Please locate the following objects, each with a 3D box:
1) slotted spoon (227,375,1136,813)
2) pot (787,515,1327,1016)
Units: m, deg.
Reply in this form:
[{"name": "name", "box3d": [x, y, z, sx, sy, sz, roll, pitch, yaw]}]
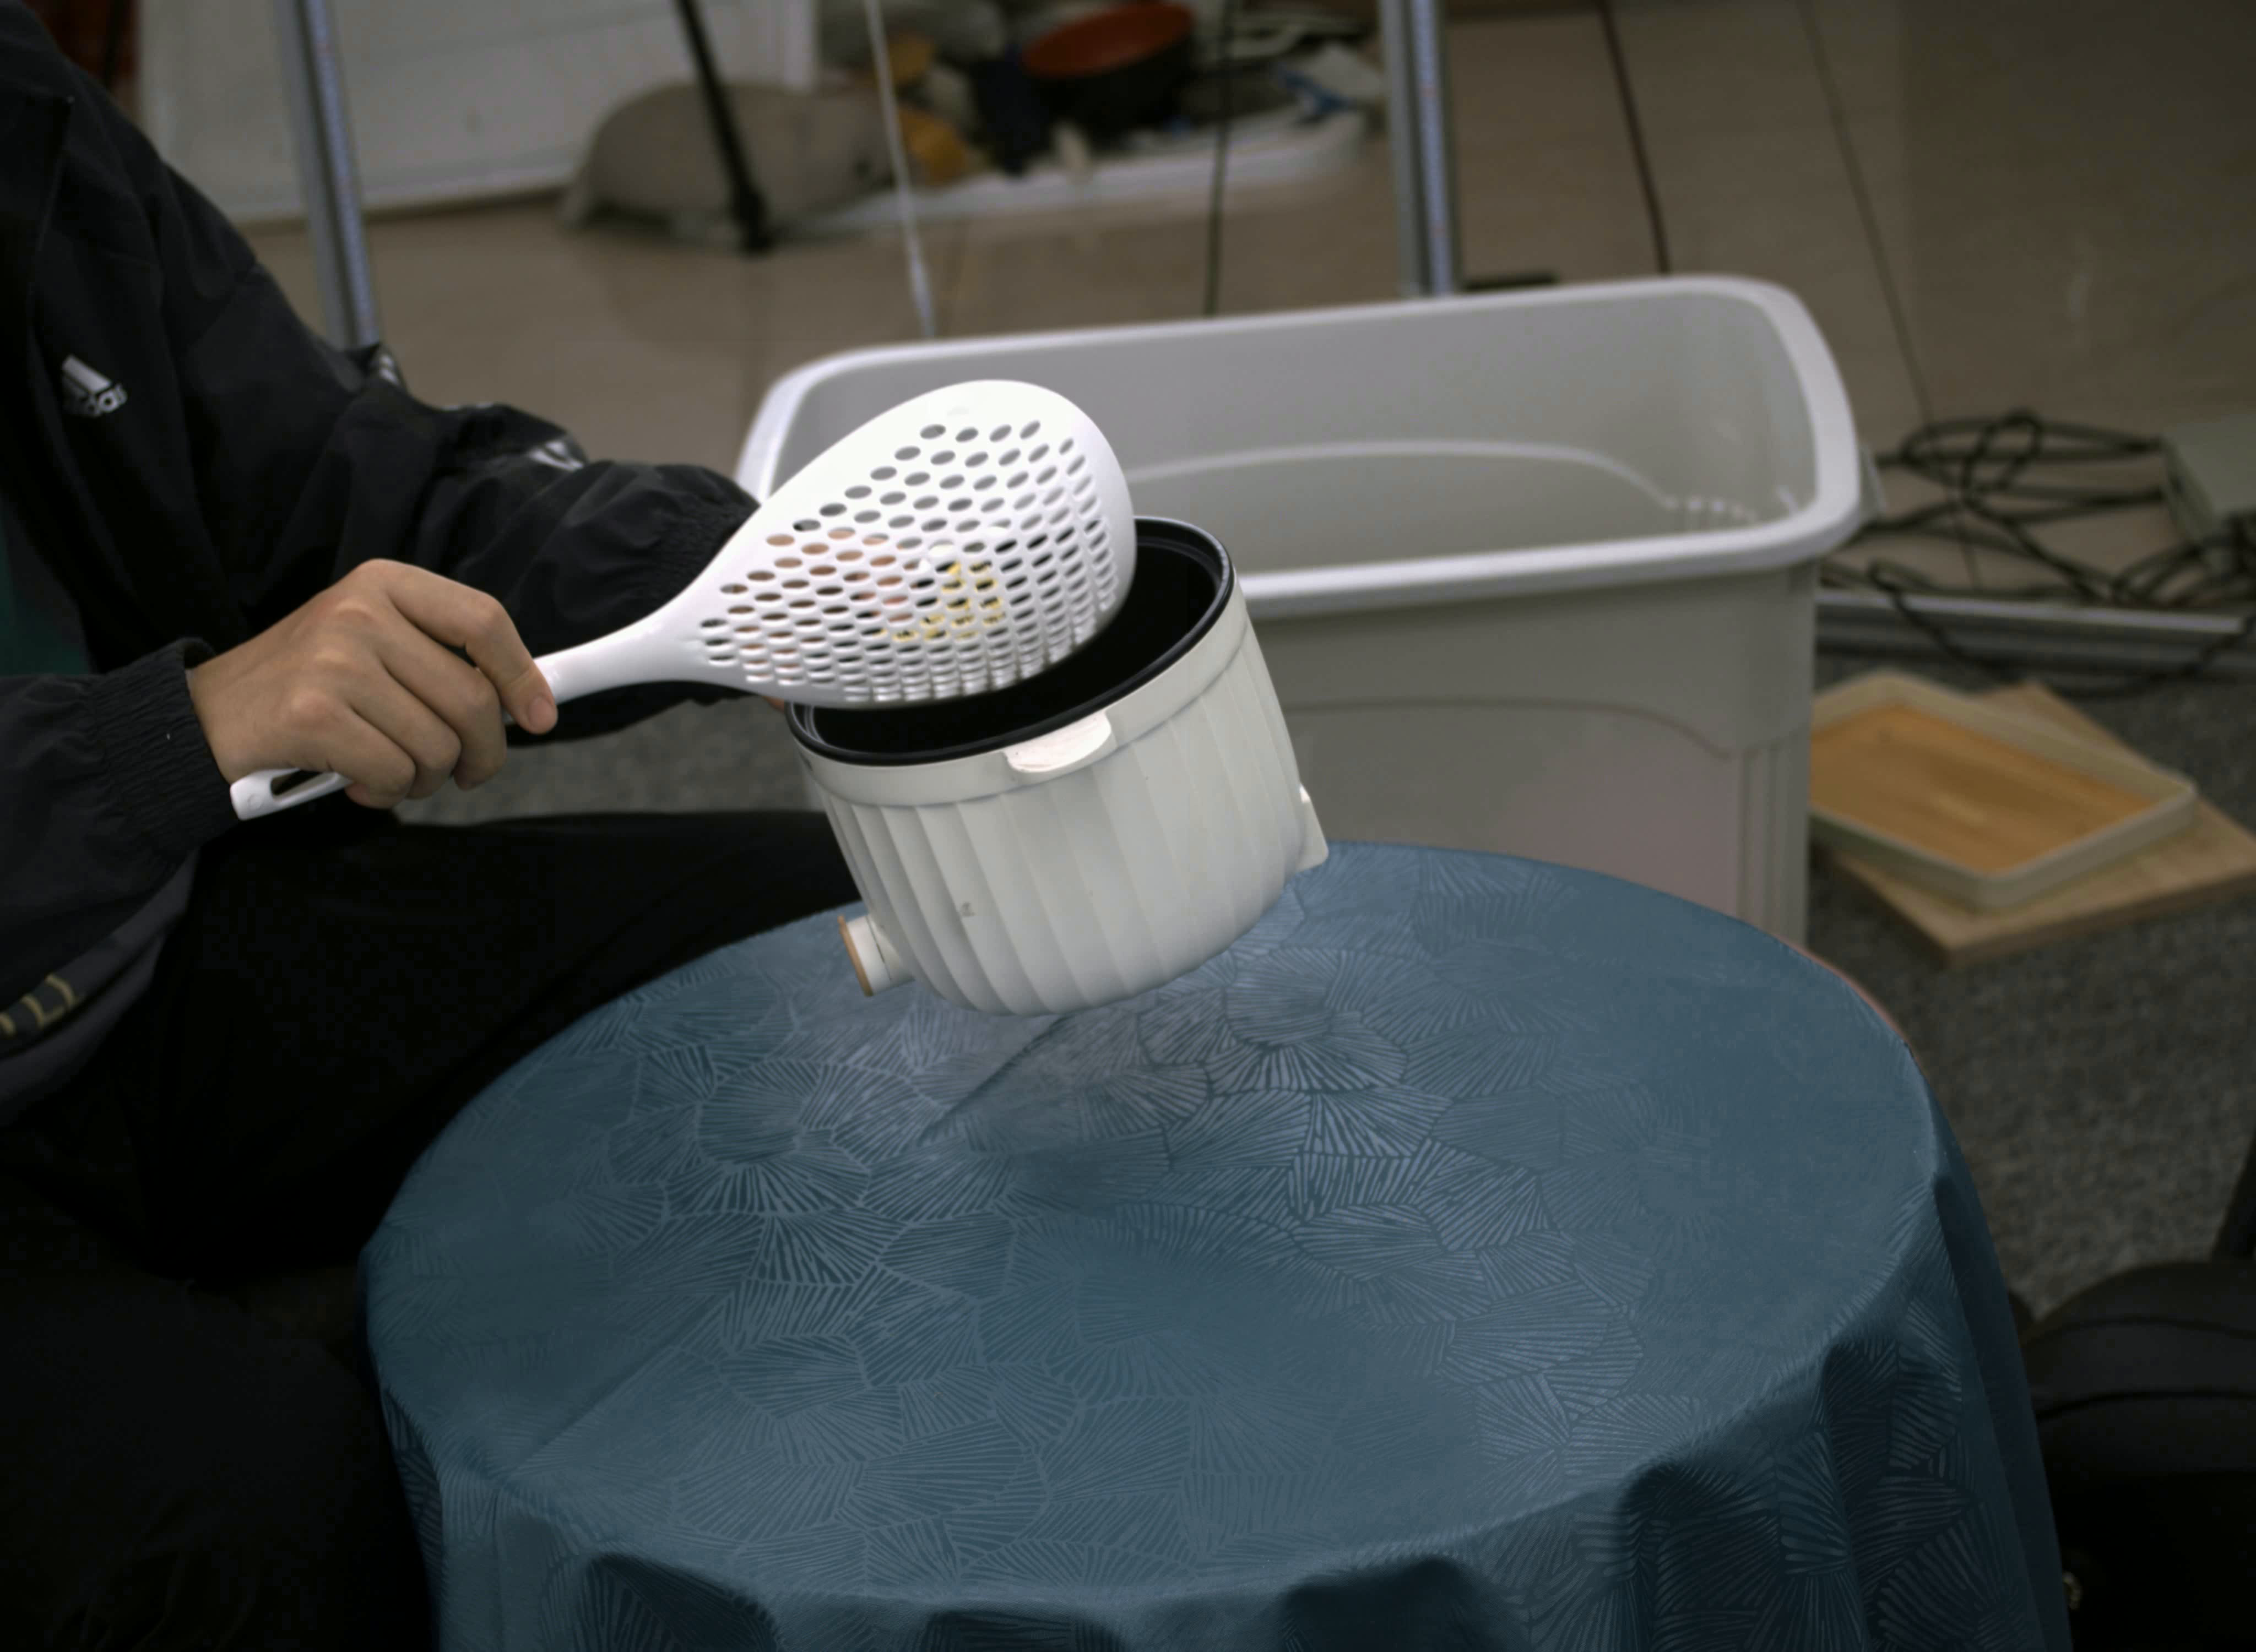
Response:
[{"name": "slotted spoon", "box3d": [-0.161, -0.063, 2.073, 0.347, 0.139, 0.049, -16, 38, -3]}, {"name": "pot", "box3d": [-0.030, -0.015, 2.183, 0.190, 0.145, 0.237, -19, 25, -4]}]
